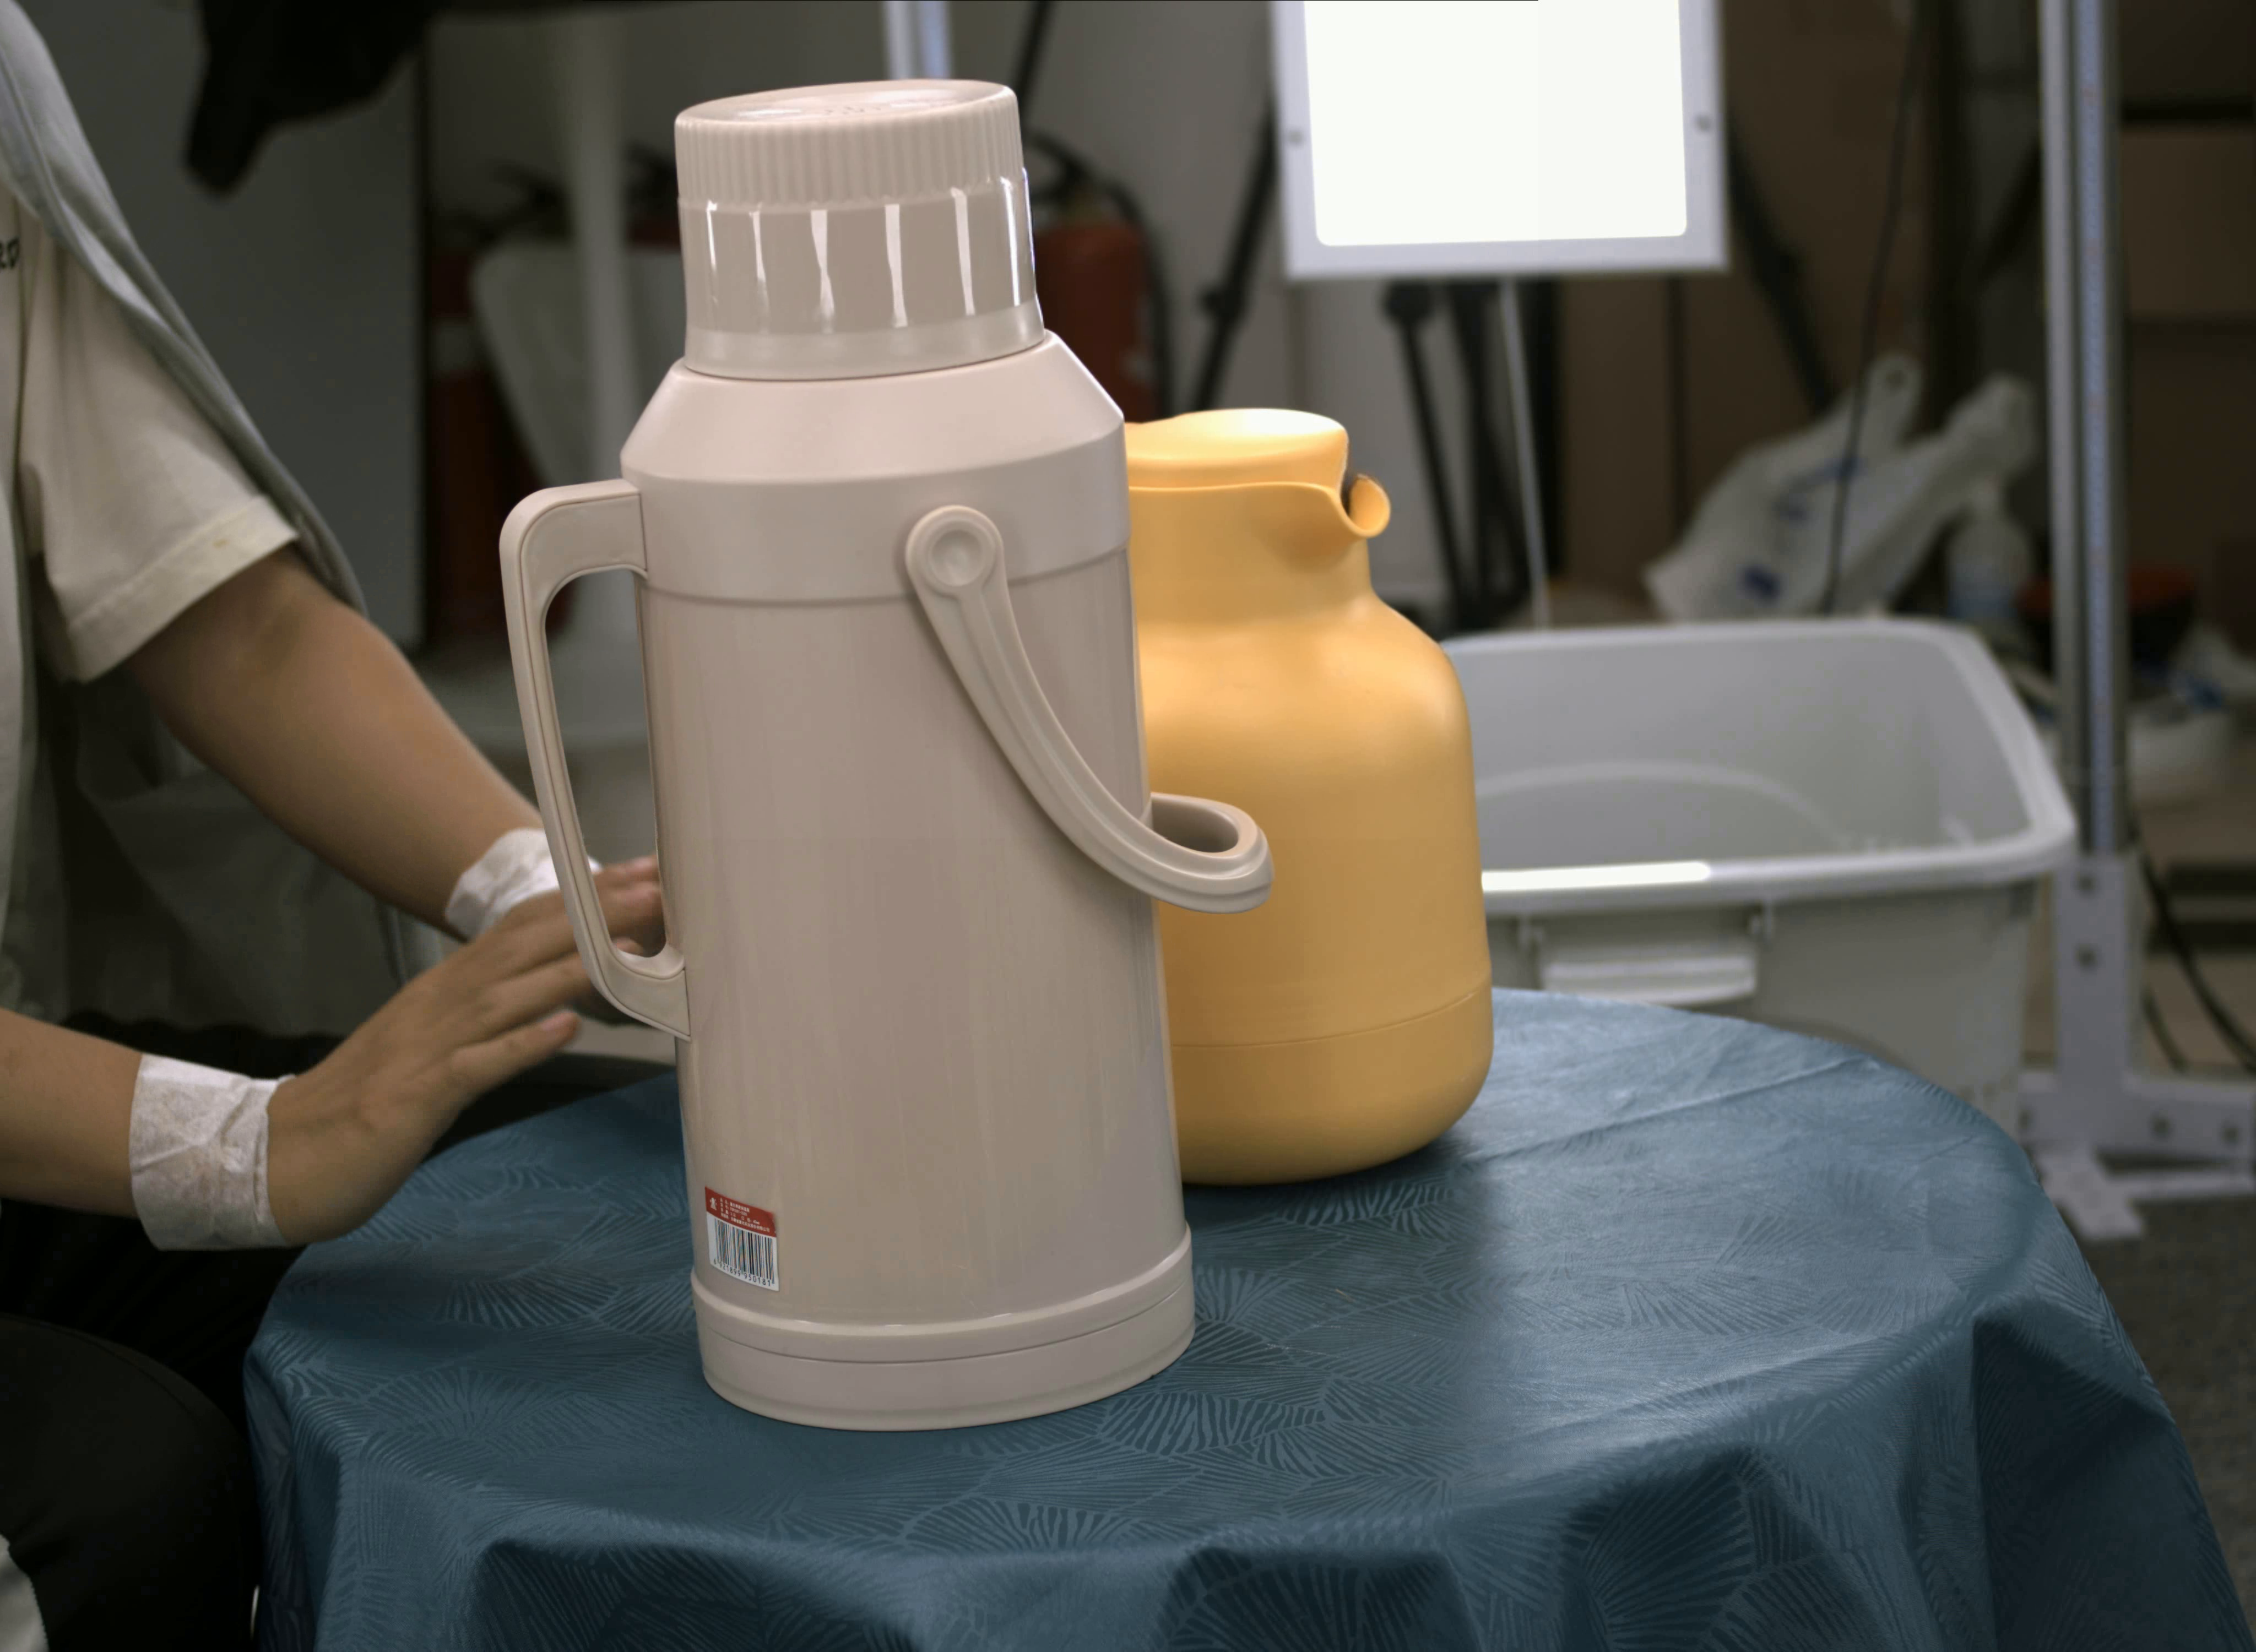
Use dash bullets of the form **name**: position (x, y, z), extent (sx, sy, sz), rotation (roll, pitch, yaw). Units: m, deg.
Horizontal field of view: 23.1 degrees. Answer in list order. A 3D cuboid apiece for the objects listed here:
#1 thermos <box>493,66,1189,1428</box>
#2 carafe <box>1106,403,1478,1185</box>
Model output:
- **thermos**: position (-0.087, -0.025, 1.708), extent (0.204, 0.408, 0.177), rotation (-8, 15, -15)
- **carafe**: position (0.027, -0.018, 1.926), extent (0.159, 0.261, 0.206), rotation (-12, 16, -37)
